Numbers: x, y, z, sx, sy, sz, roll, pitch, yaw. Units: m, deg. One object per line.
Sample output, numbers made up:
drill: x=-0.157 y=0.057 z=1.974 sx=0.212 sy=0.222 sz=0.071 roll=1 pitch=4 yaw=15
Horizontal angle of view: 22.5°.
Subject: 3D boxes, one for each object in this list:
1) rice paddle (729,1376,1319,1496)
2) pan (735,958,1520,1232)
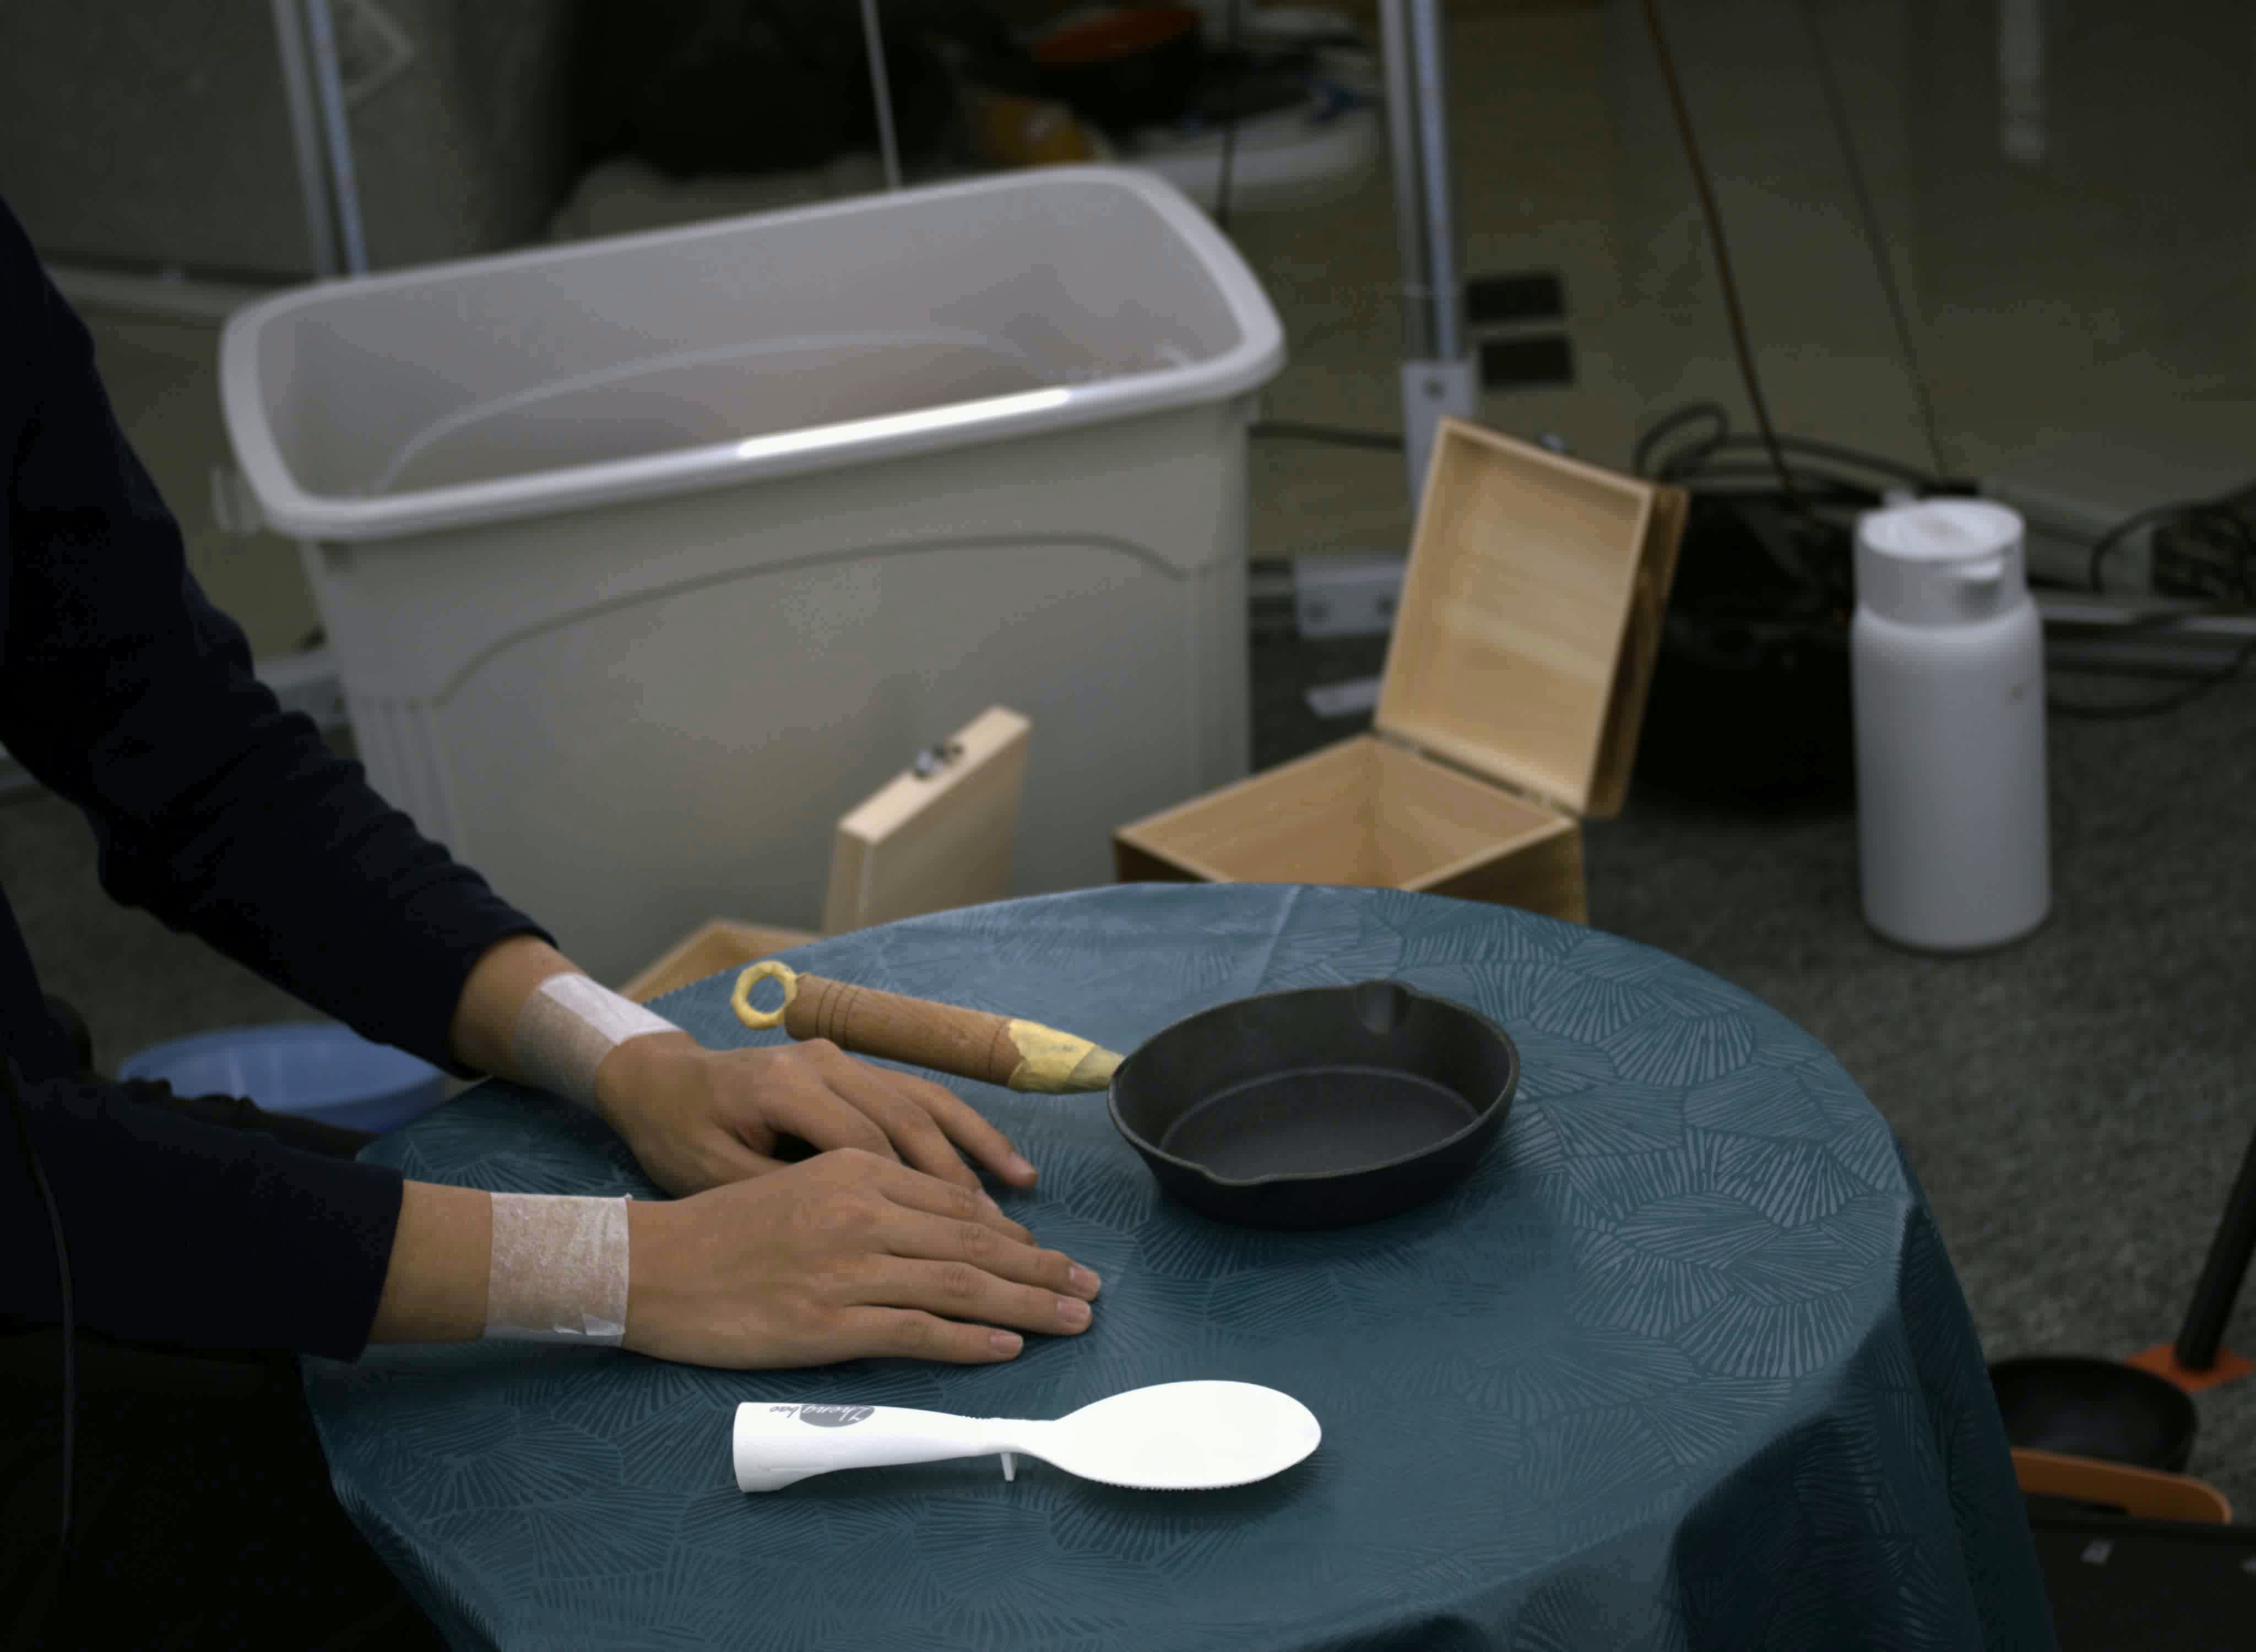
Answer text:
rice paddle: x=-0.036 y=0.211 z=1.967 sx=0.205 sy=0.030 sz=0.068 roll=-3 pitch=27 yaw=8
pan: x=-0.005 y=0.094 z=2.184 sx=0.323 sy=0.050 sz=0.167 roll=7 pitch=29 yaw=24
